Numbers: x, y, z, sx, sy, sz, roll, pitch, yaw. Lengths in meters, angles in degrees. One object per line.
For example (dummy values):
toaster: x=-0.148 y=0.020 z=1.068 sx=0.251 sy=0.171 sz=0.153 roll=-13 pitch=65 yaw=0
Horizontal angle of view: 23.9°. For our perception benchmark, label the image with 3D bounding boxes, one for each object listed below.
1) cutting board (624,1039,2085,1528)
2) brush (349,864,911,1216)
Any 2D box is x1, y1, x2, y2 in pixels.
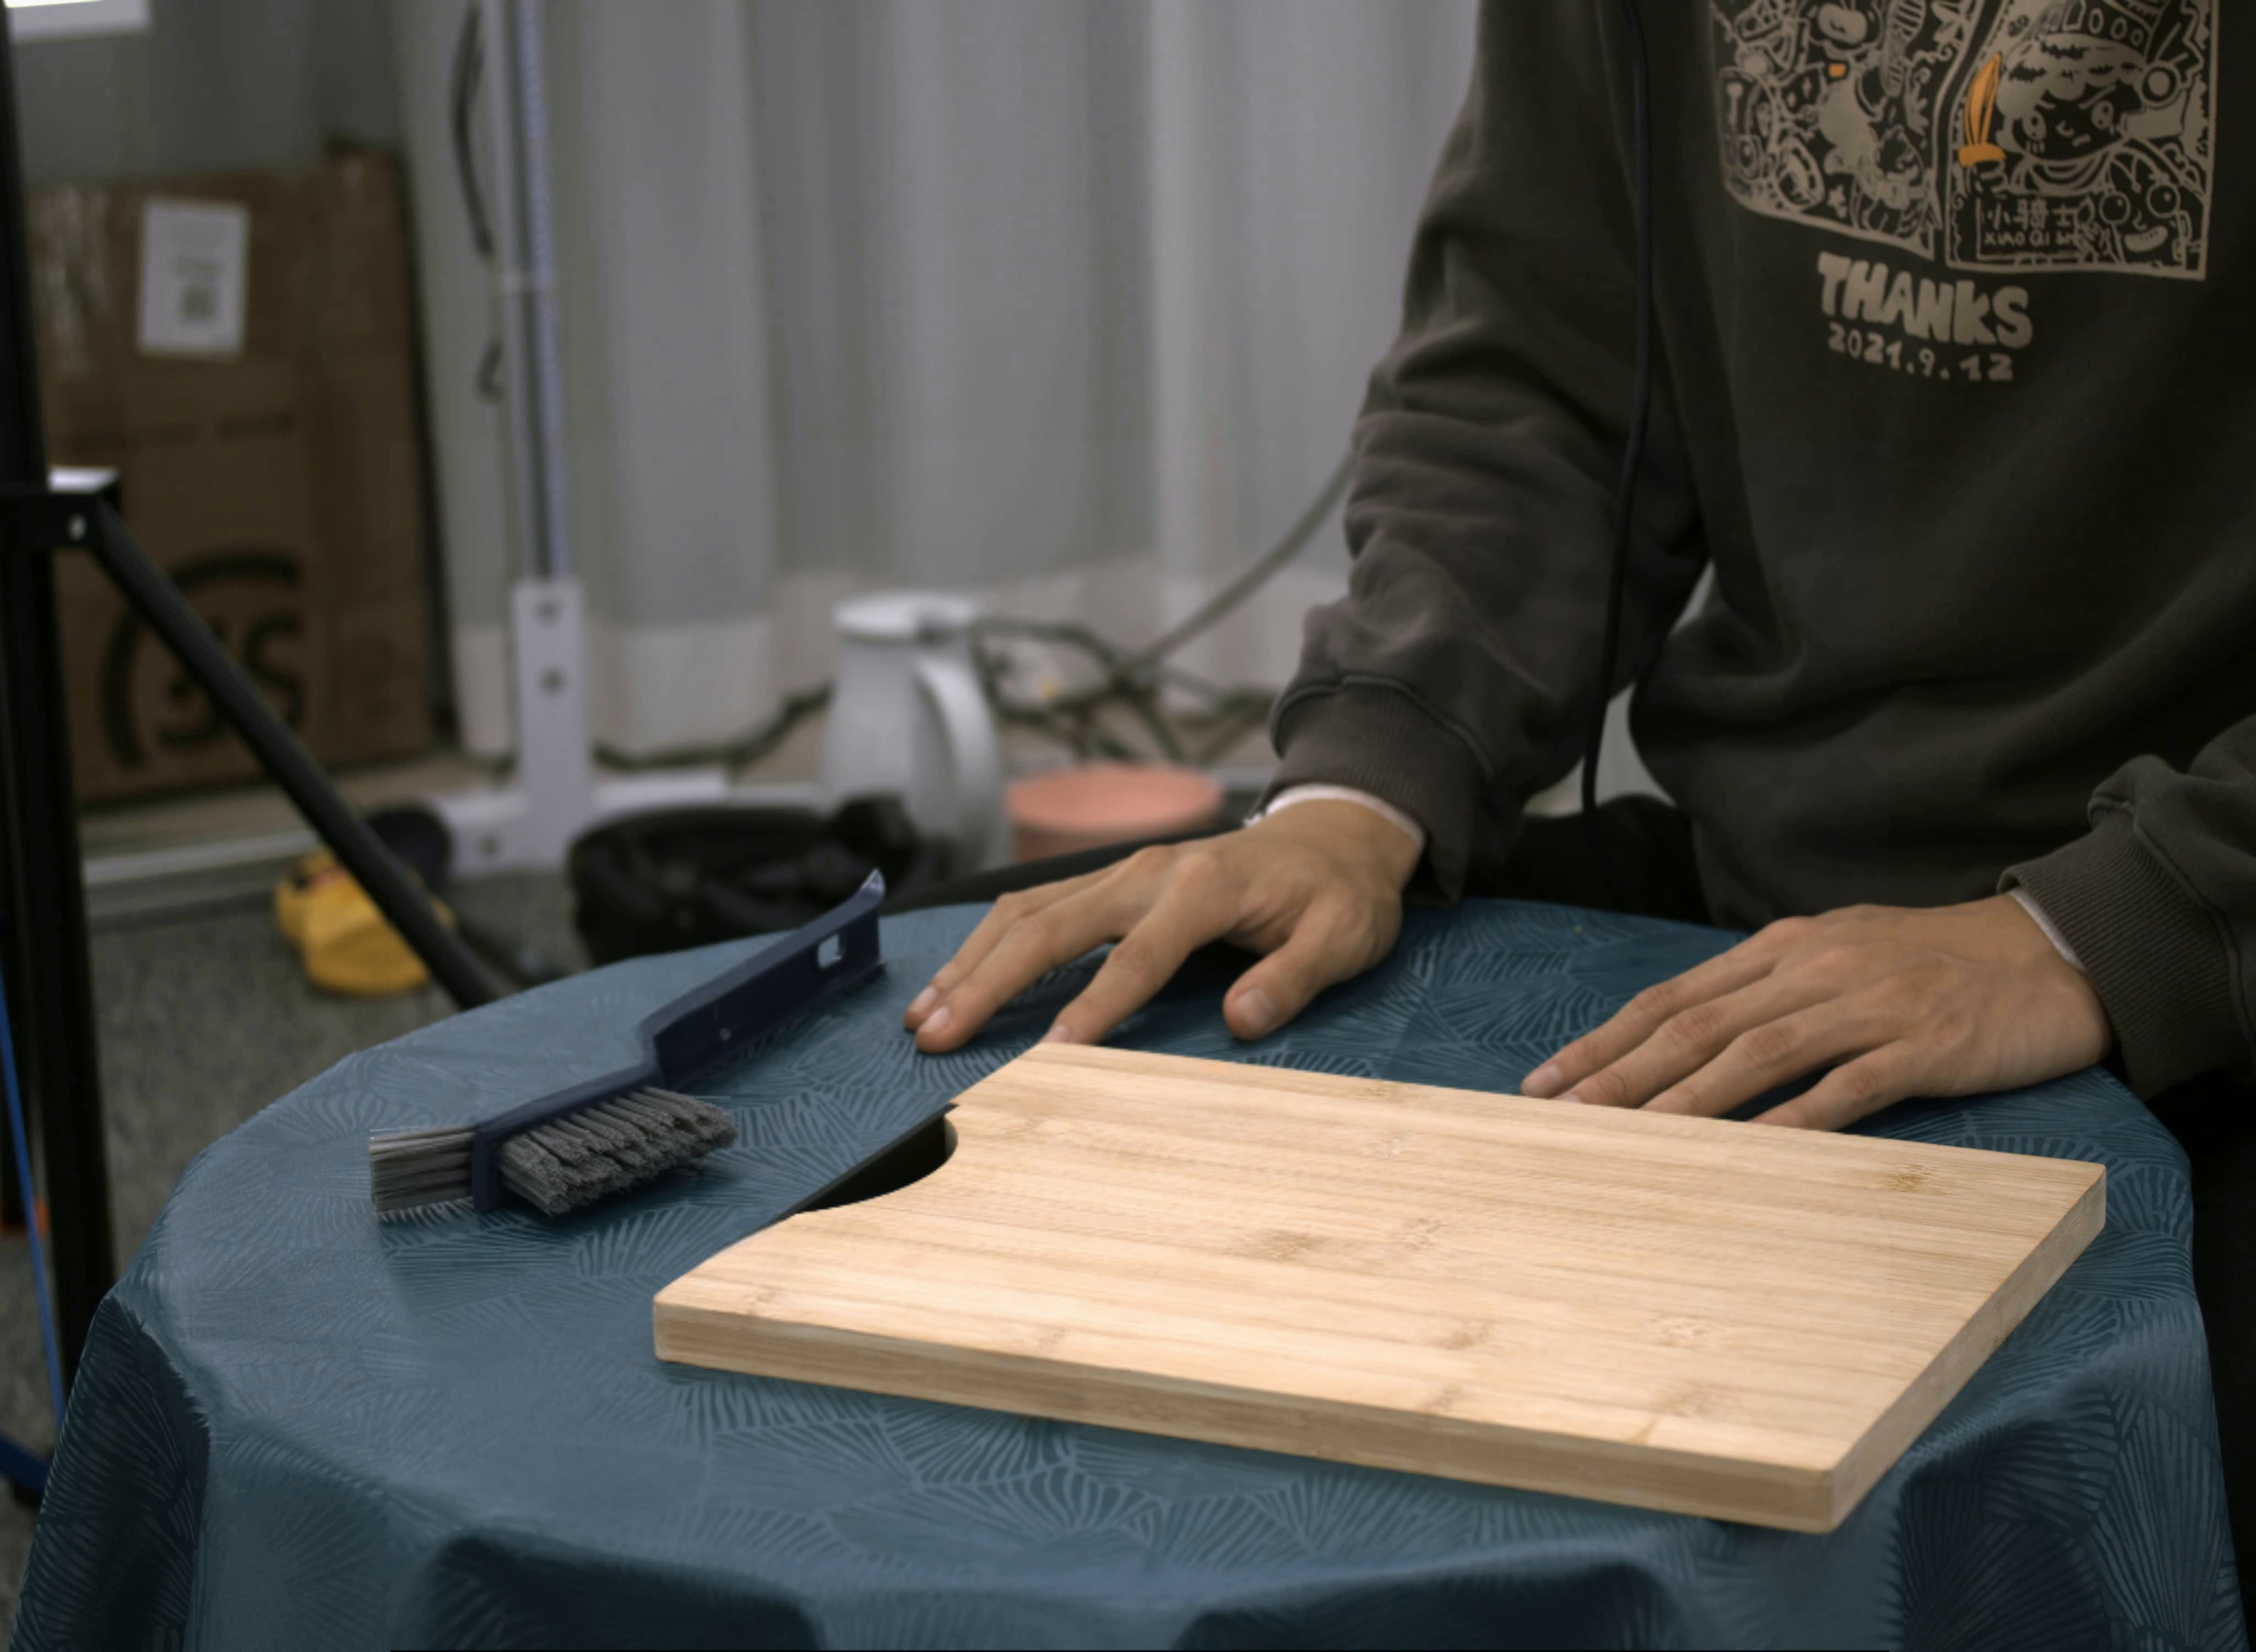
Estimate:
cutting board: x=0.067 y=0.121 z=1.475 sx=0.354 sy=0.023 sz=0.247 roll=5 pitch=17 yaw=26
brush: x=-0.146 y=0.066 z=1.679 sx=0.097 sy=0.033 sz=0.270 roll=3 pitch=18 yaw=19
